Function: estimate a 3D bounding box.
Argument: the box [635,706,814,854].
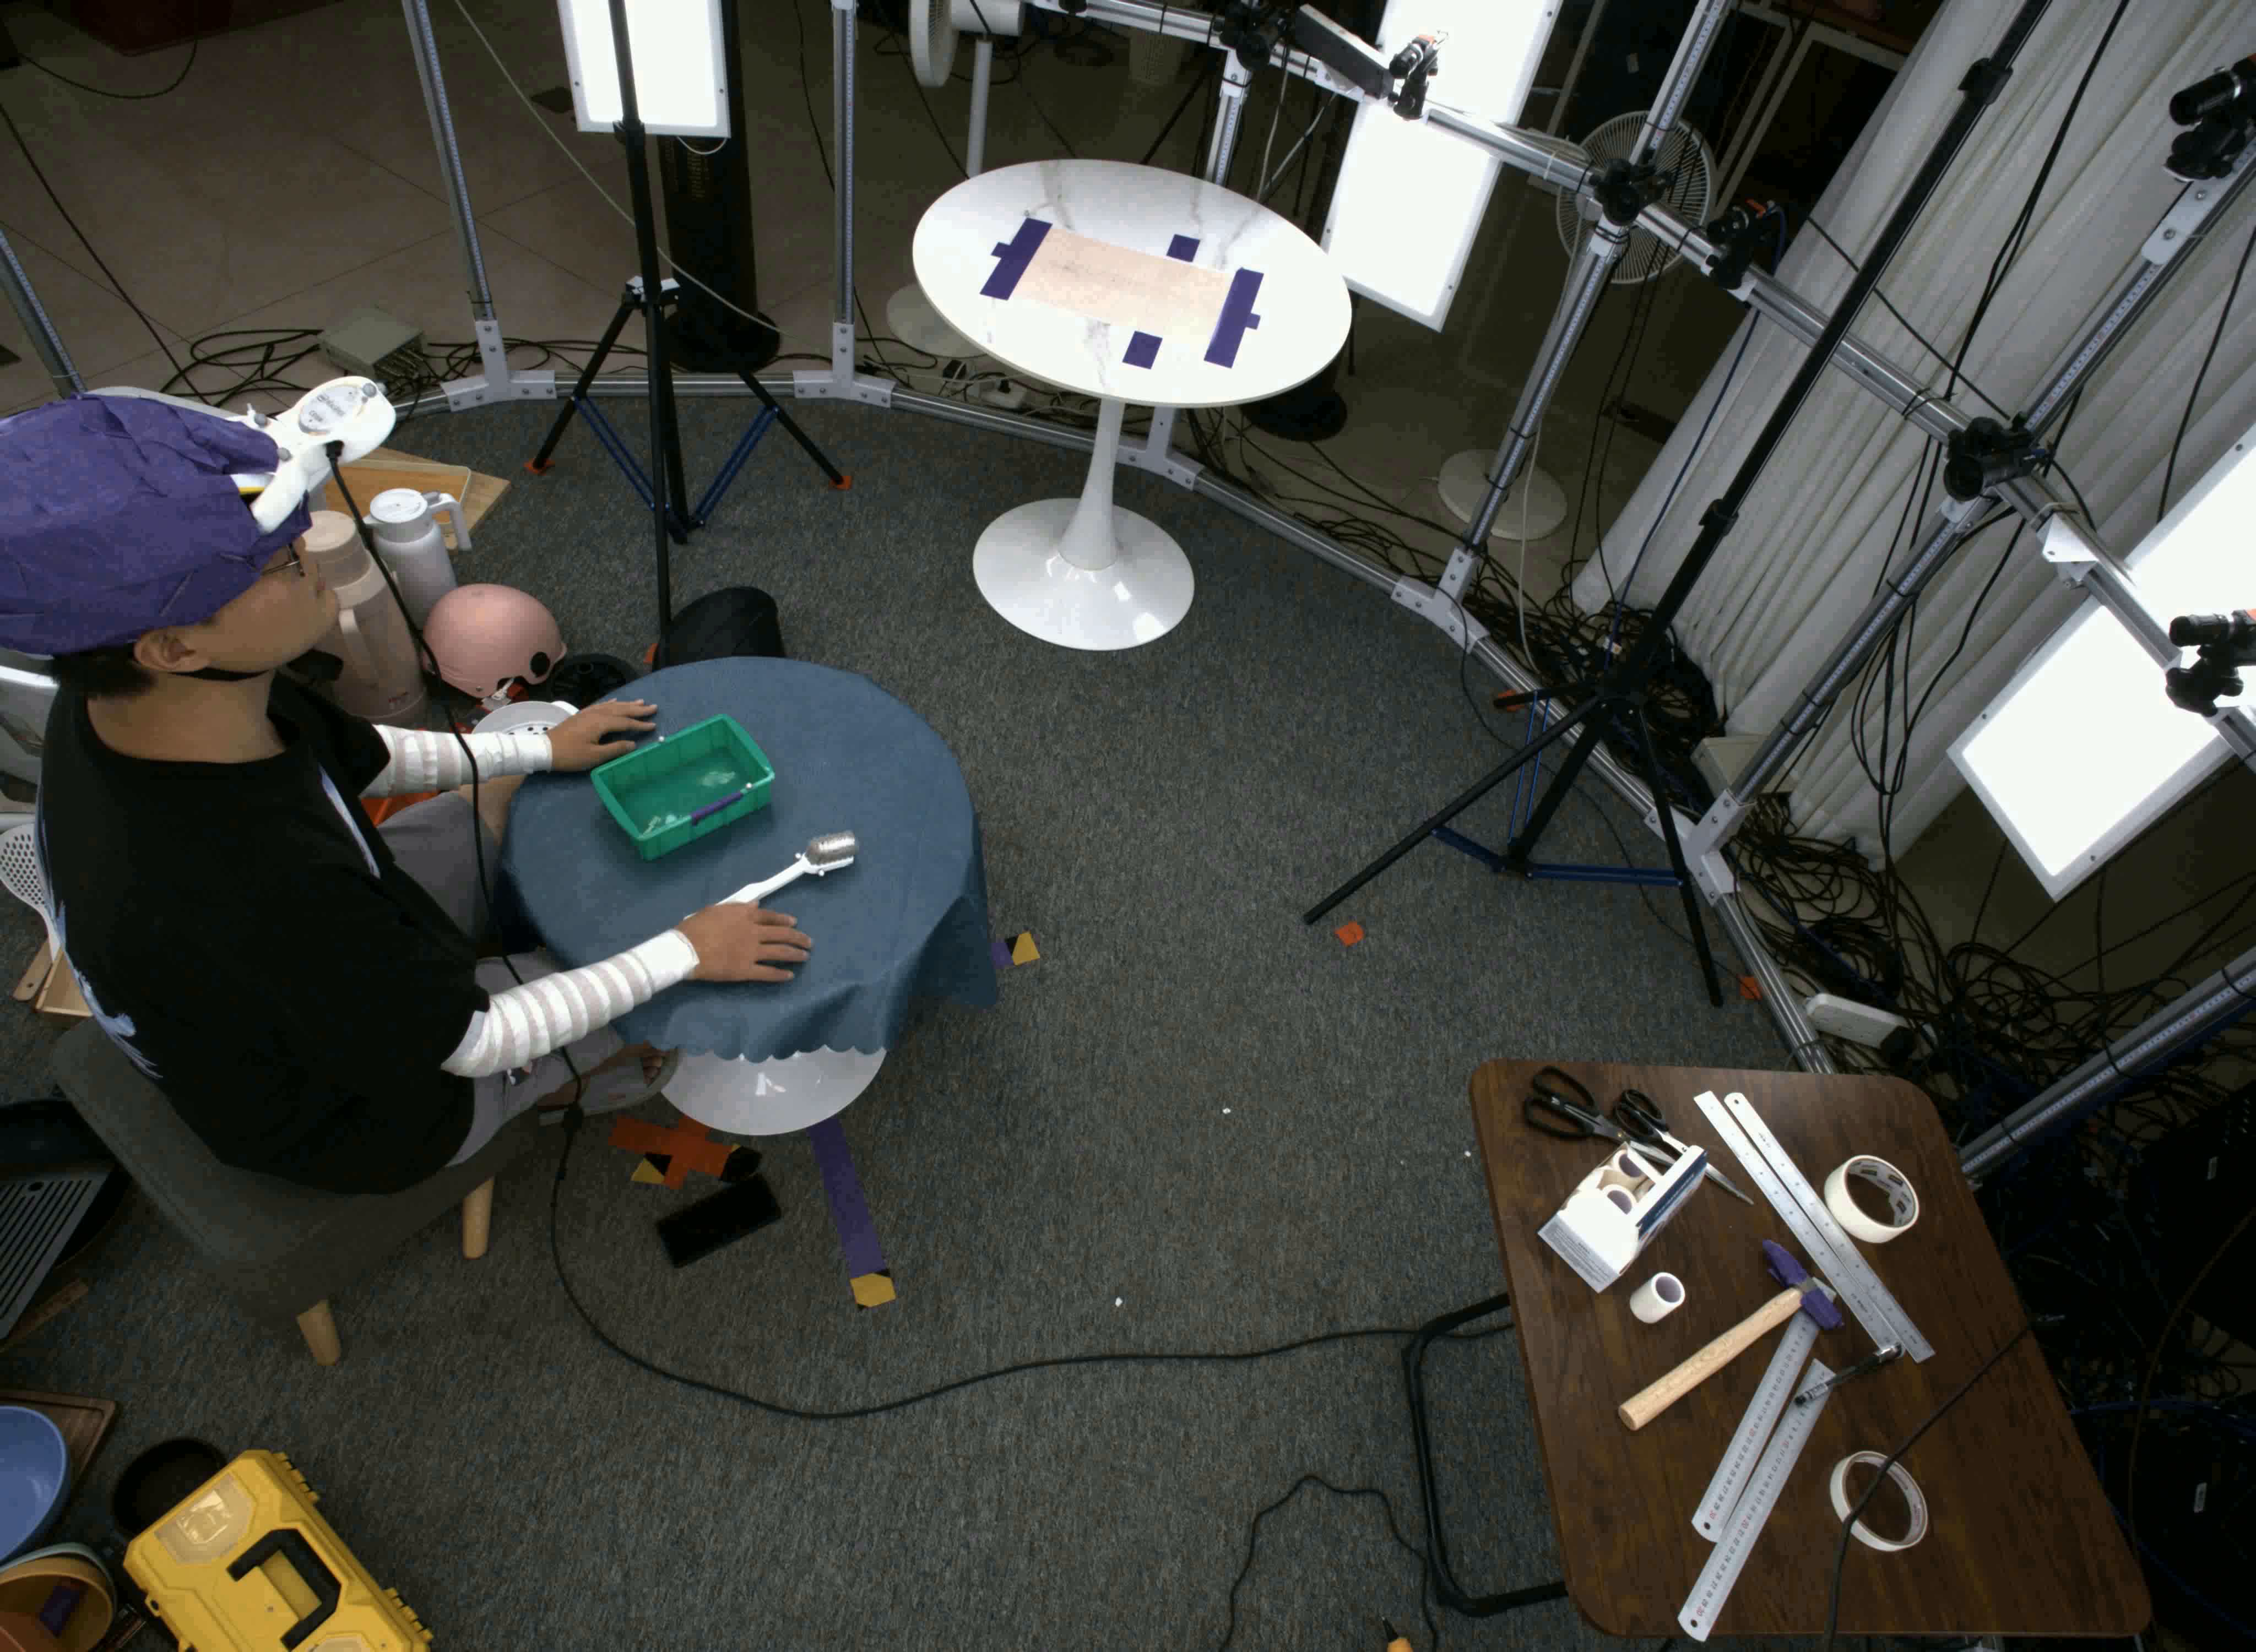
[{"bbox_3d":[-0.534,-0.061,1.711,0.211,0.066,0.136,-29,68,-31],"label":"box"}]

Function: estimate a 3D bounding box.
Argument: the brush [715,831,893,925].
[{"bbox_3d":[-0.415,0.062,1.660,0.245,0.051,0.033,-23,62,-27],"label":"brush"}]
